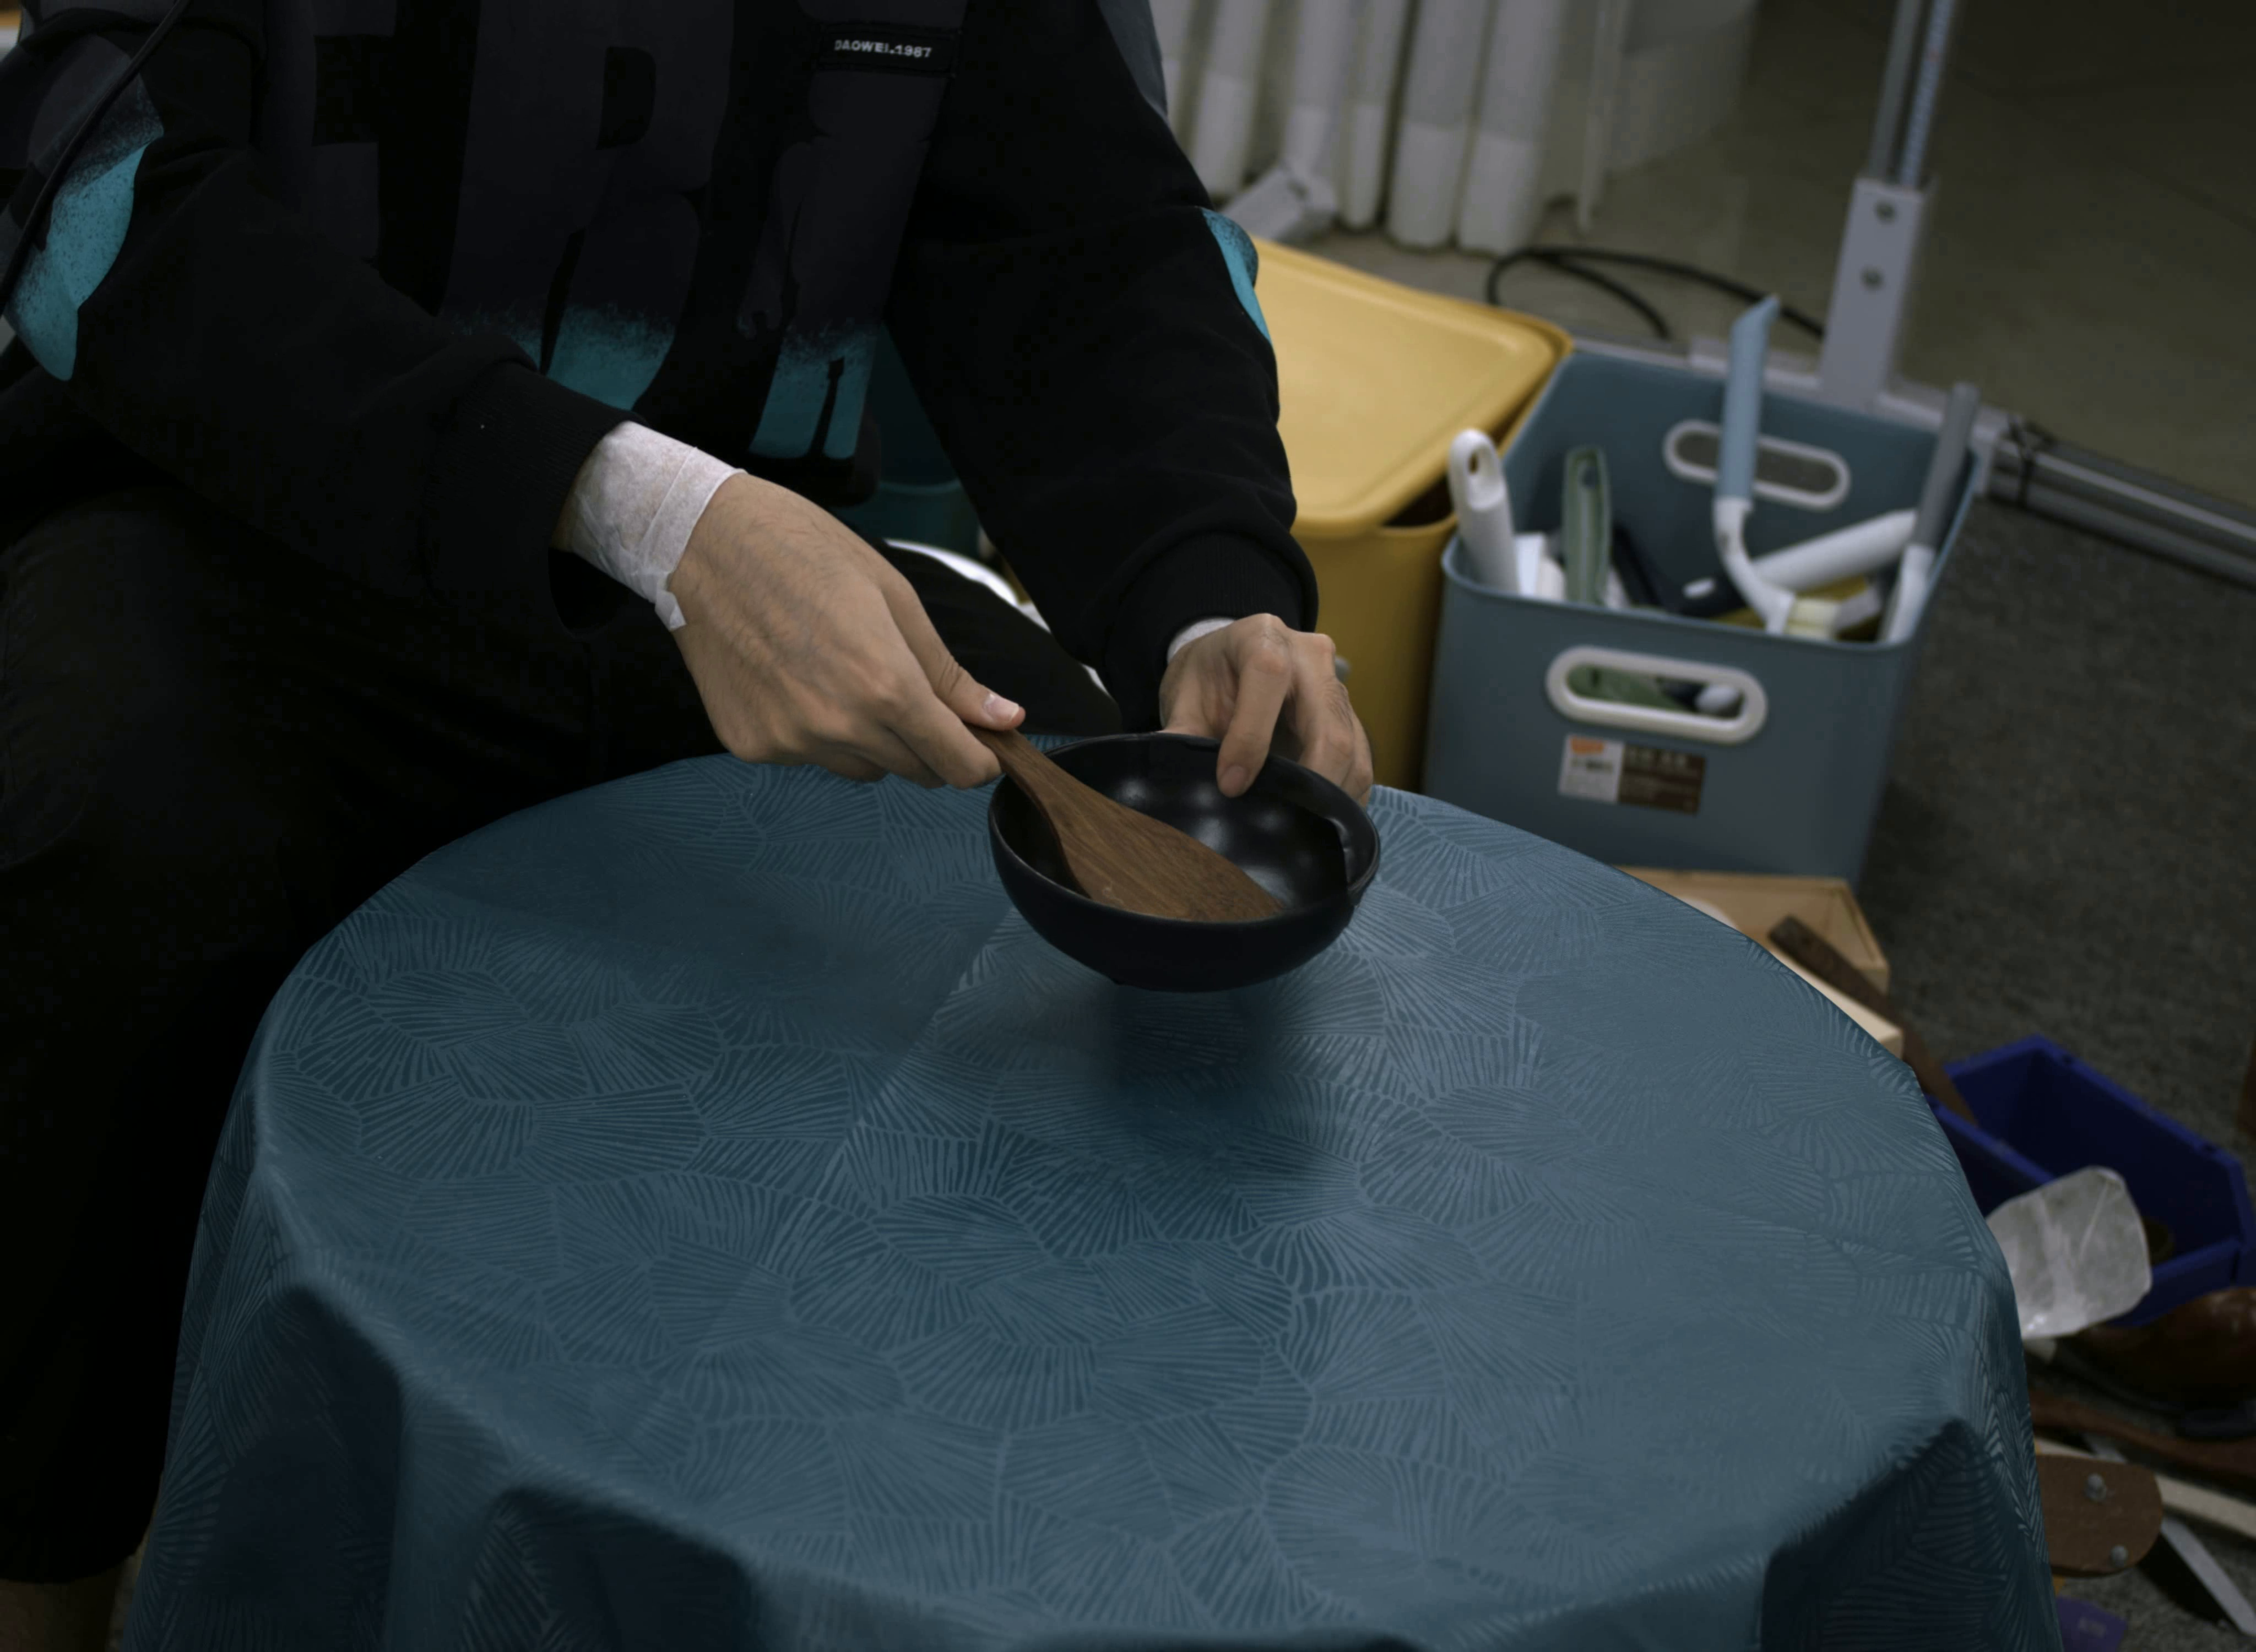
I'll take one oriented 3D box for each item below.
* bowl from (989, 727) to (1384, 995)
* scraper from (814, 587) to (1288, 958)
[{"bbox_3d":[0.019,0.020,1.869,0.139,0.049,0.141,3,30,-2],"label":"bowl"},{"bbox_3d":[-0.034,-0.020,1.880,0.212,0.011,0.075,41,34,24],"label":"scraper"}]
